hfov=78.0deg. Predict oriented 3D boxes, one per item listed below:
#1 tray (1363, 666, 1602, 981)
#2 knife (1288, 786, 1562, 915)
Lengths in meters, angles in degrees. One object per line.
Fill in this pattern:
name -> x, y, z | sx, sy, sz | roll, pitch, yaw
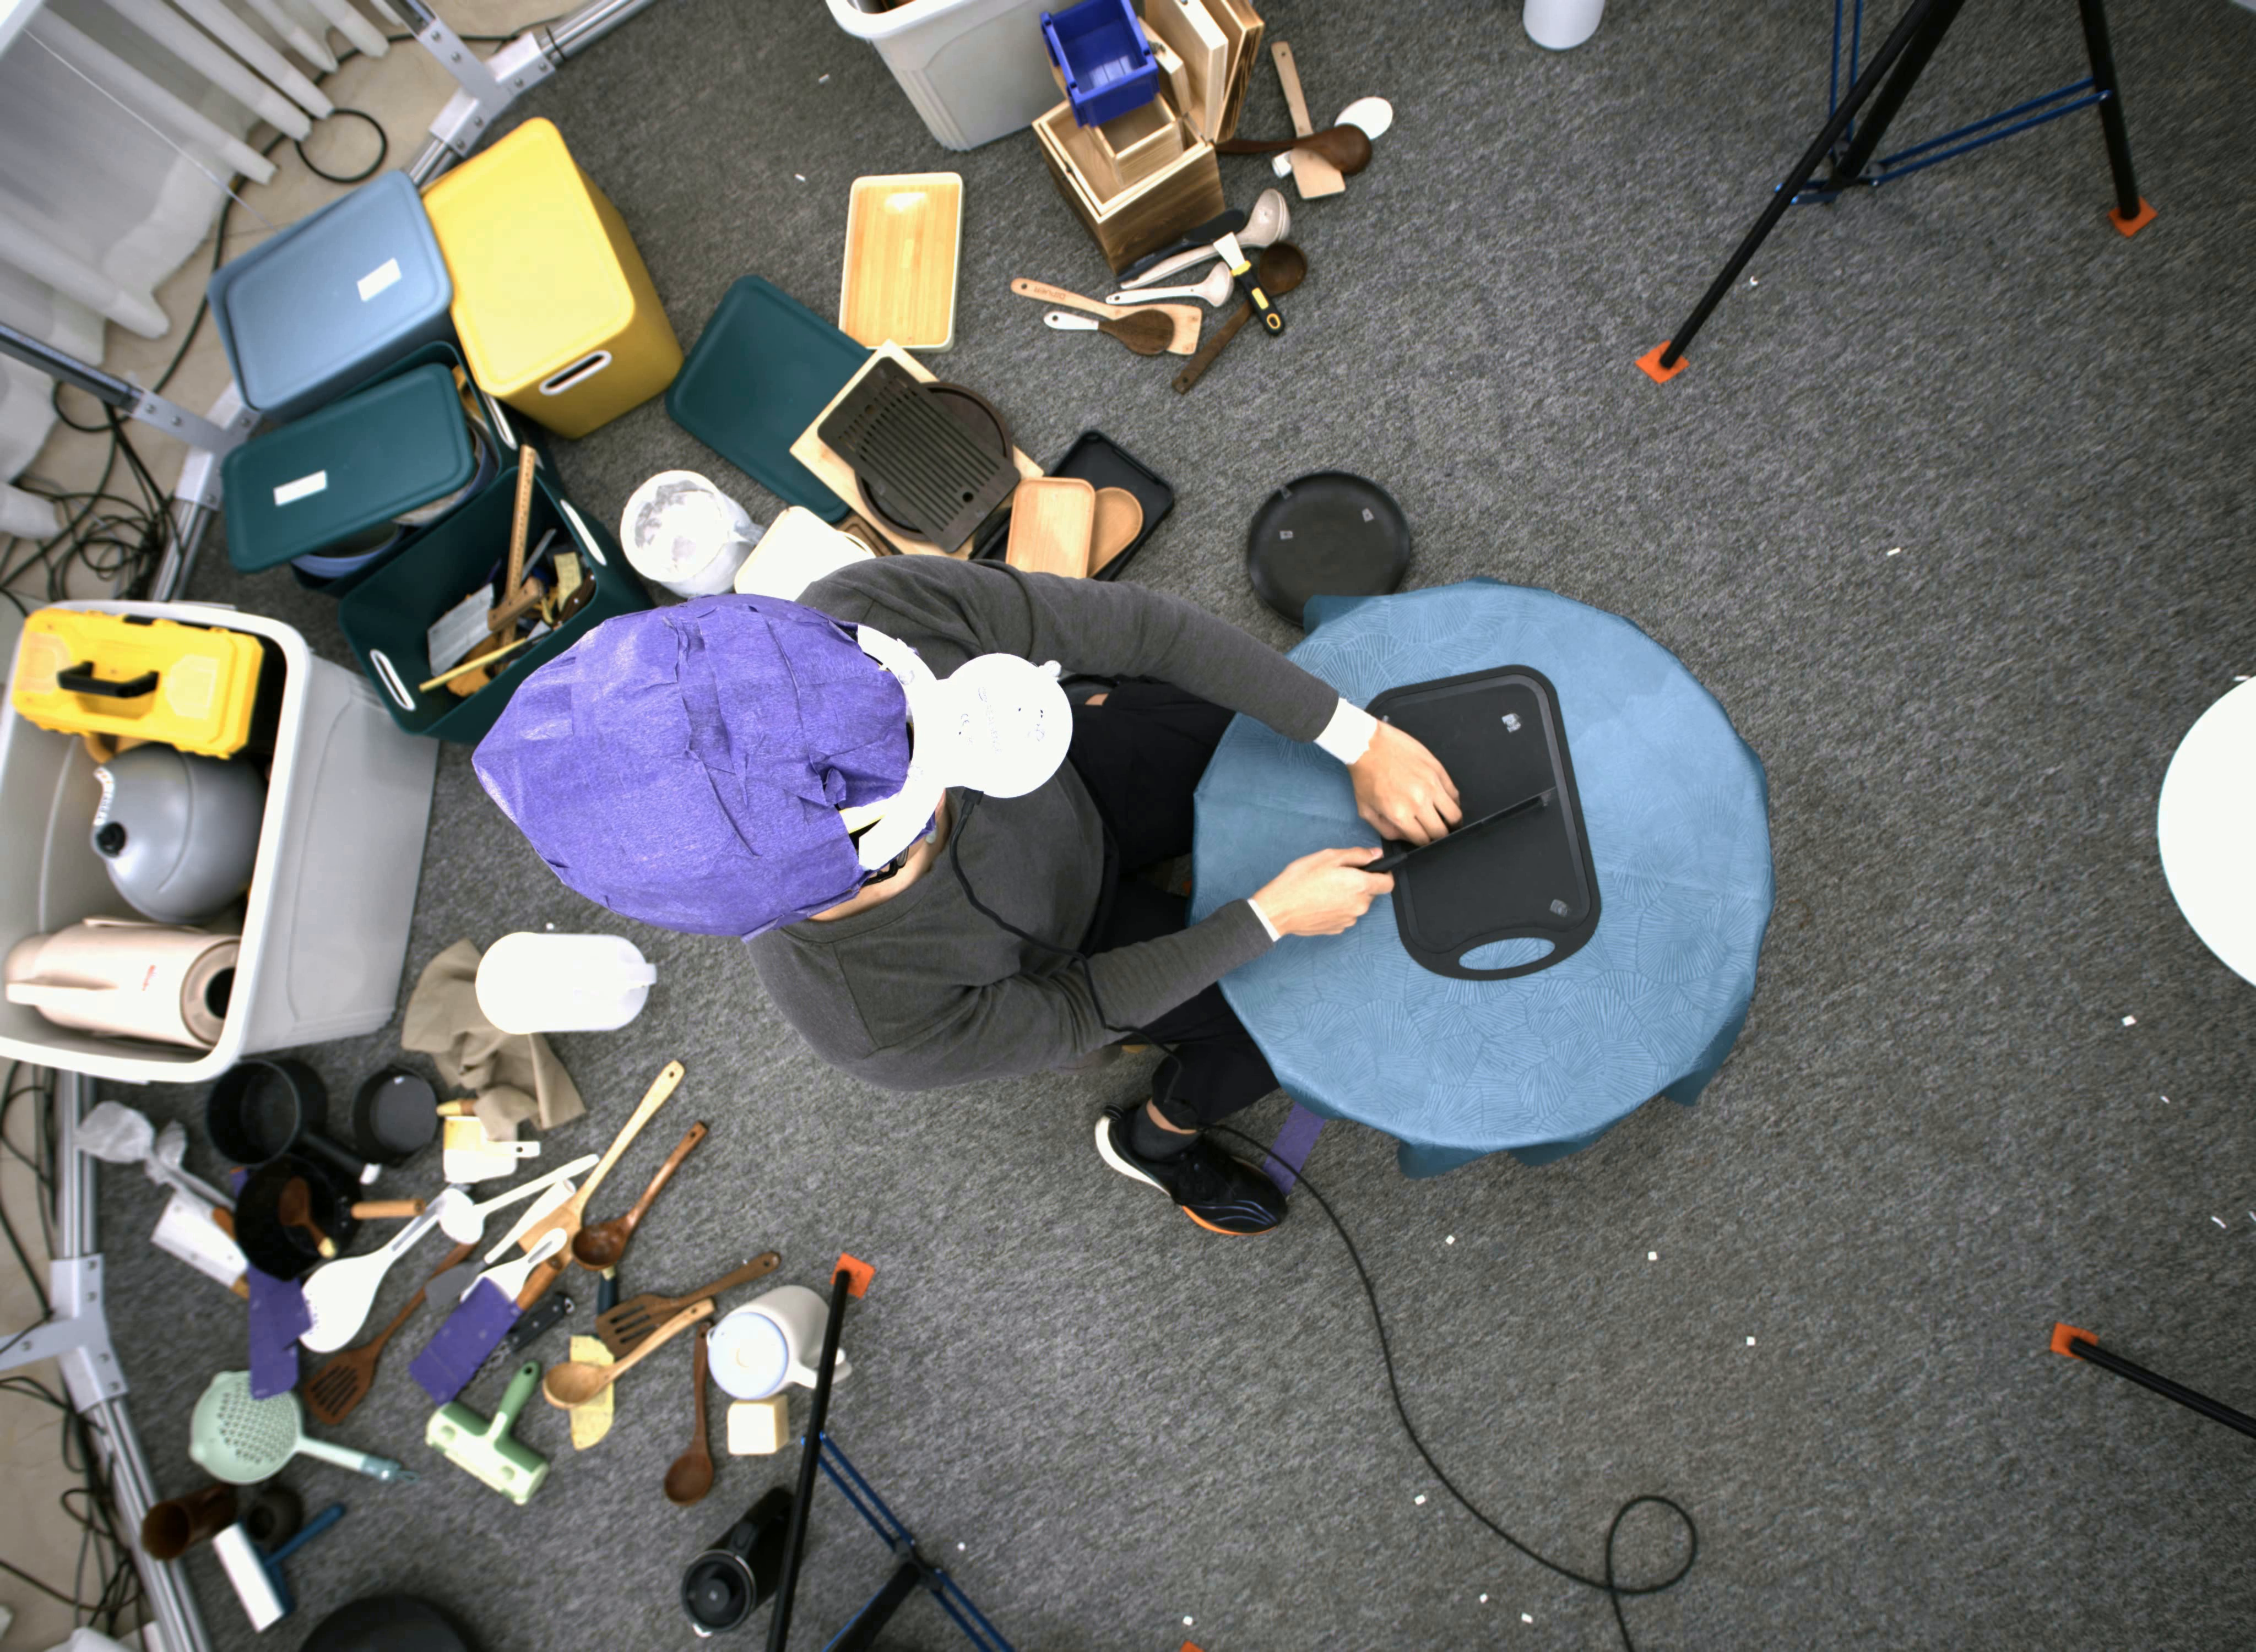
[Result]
tray -> 0.372, -0.003, 1.440 | 0.212, 0.010, 0.323 | -10, 84, 8
knife -> 0.305, 0.023, 1.414 | 0.303, 0.081, 0.020 | -24, 77, 5
